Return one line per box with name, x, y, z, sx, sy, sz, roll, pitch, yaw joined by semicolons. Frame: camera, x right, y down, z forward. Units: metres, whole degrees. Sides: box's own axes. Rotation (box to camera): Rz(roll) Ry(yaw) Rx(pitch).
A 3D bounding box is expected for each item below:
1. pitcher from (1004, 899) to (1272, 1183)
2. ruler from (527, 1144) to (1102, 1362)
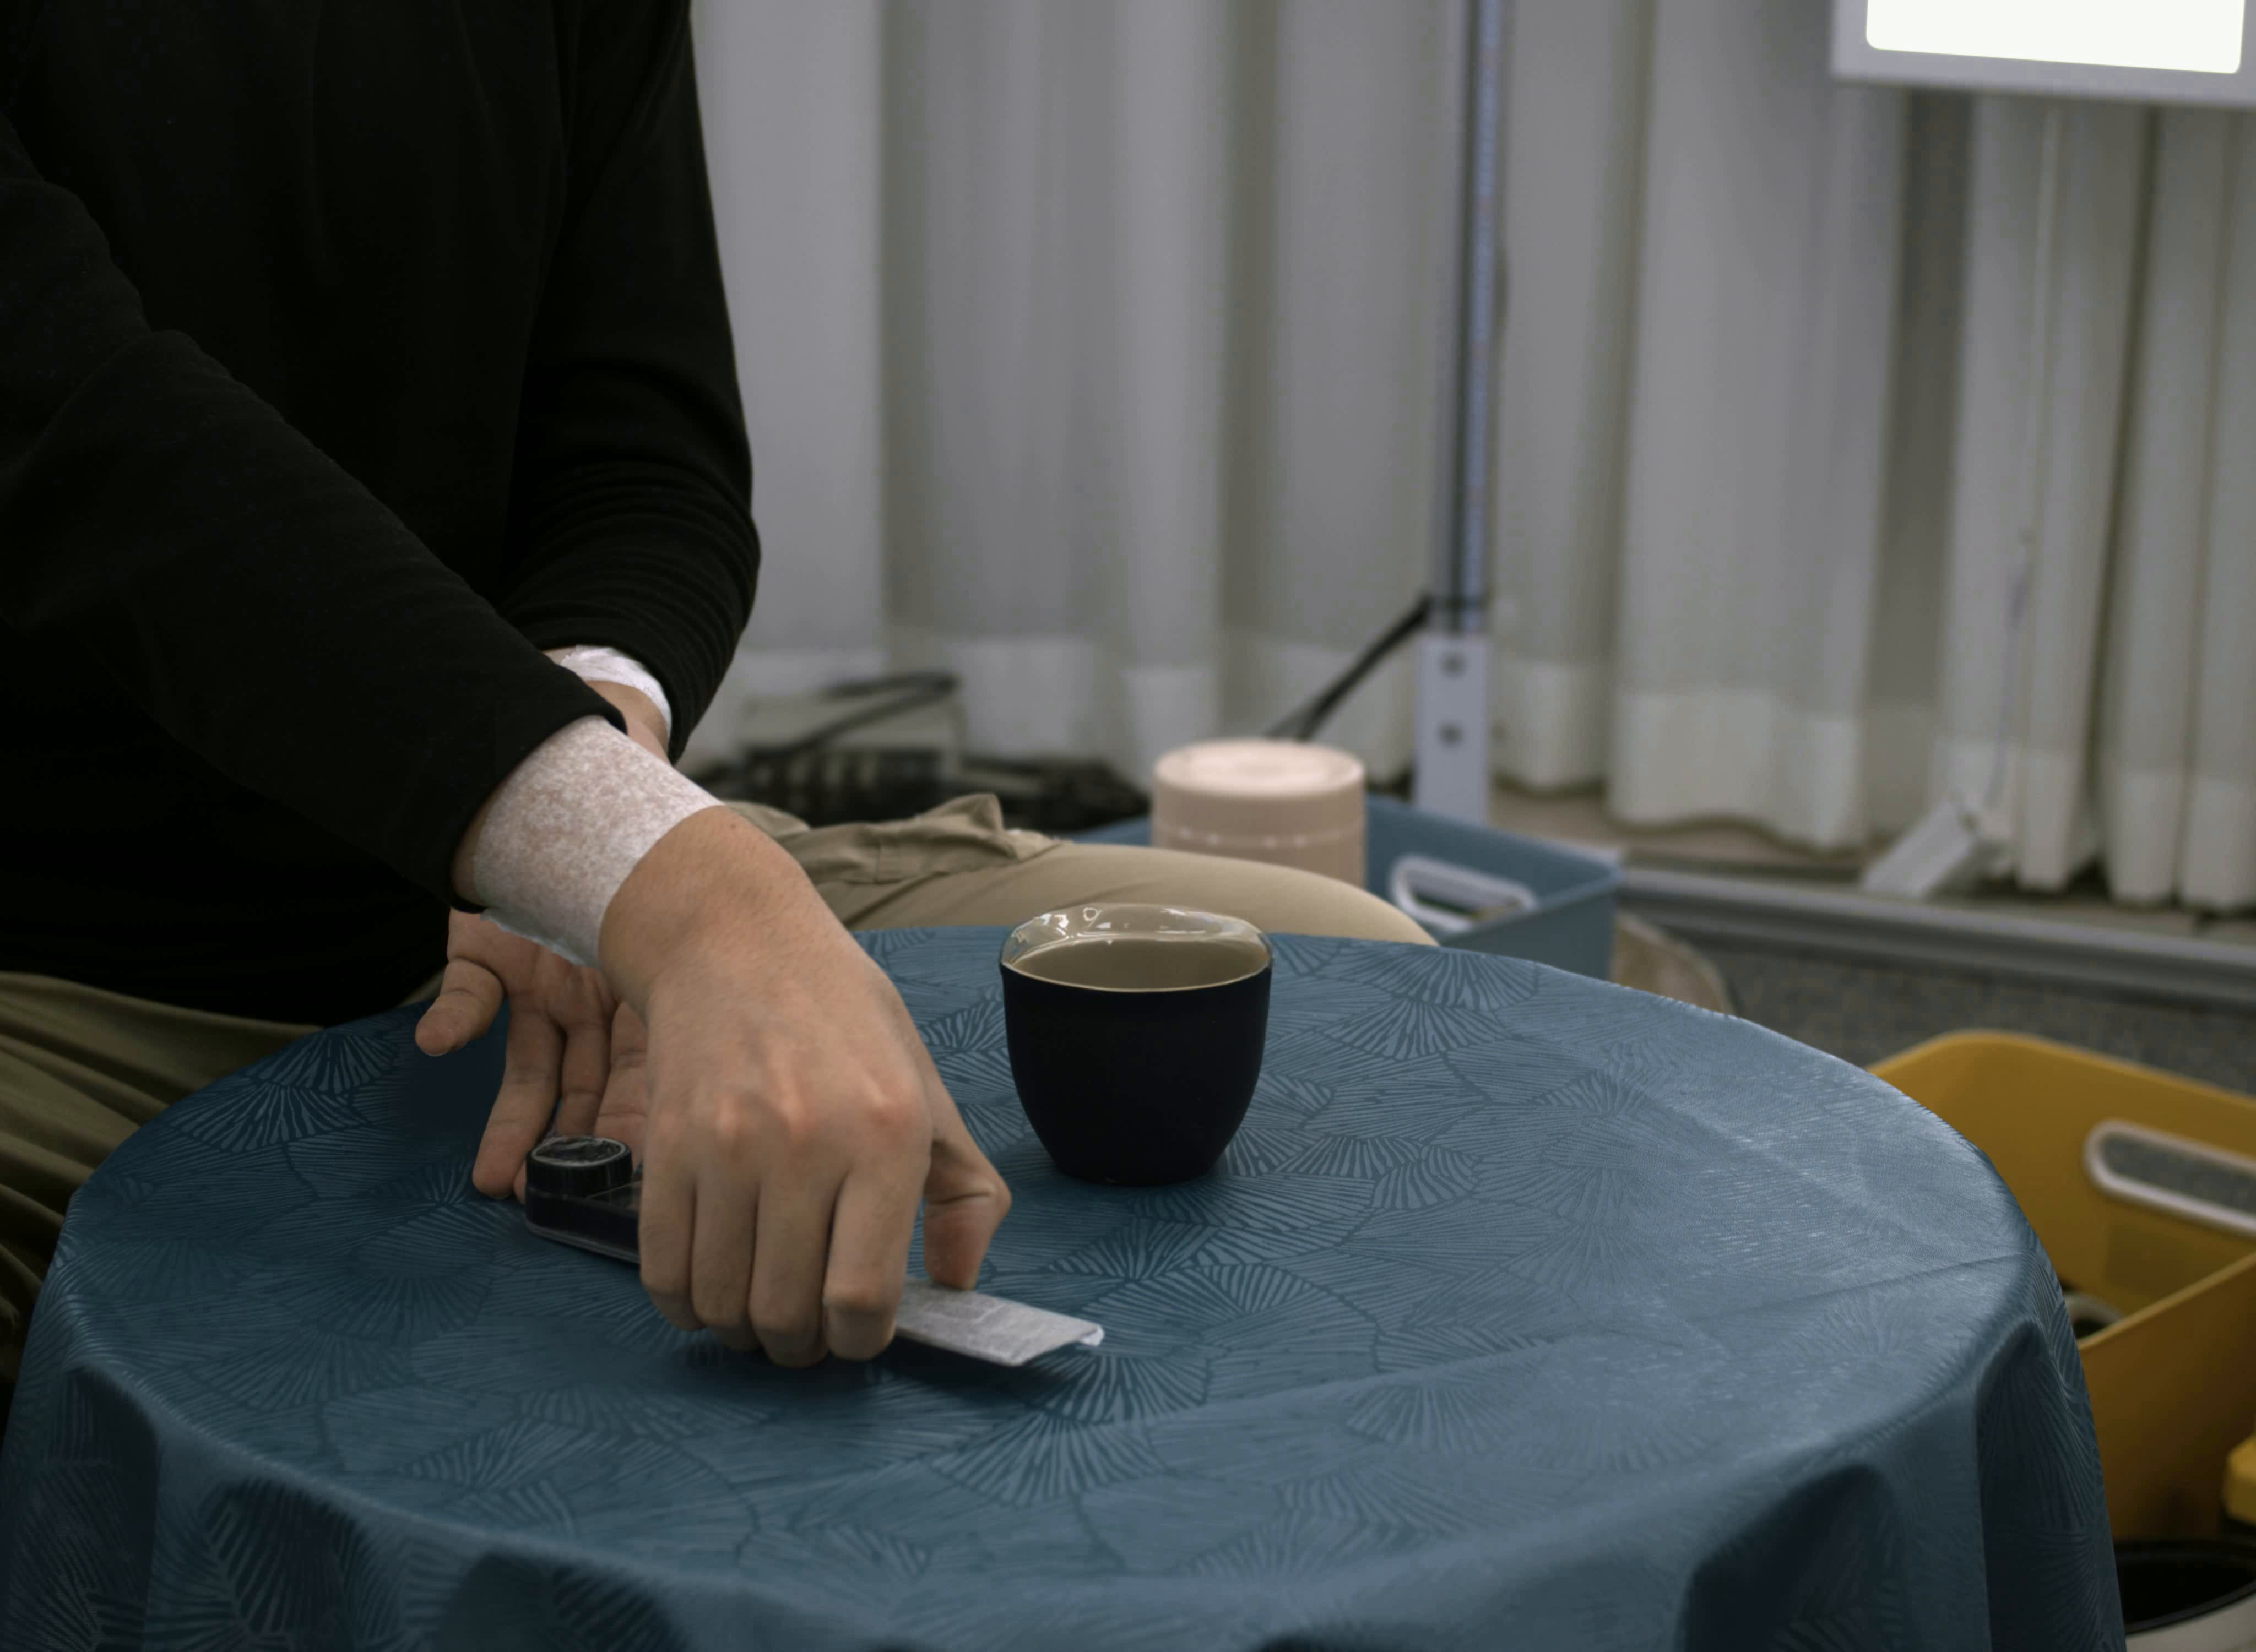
pitcher;0.000;0.068;1.642;0.084;0.072;0.095;-9;19;-28
ruler;-0.098;0.121;1.521;0.215;0.024;0.038;8;24;43
